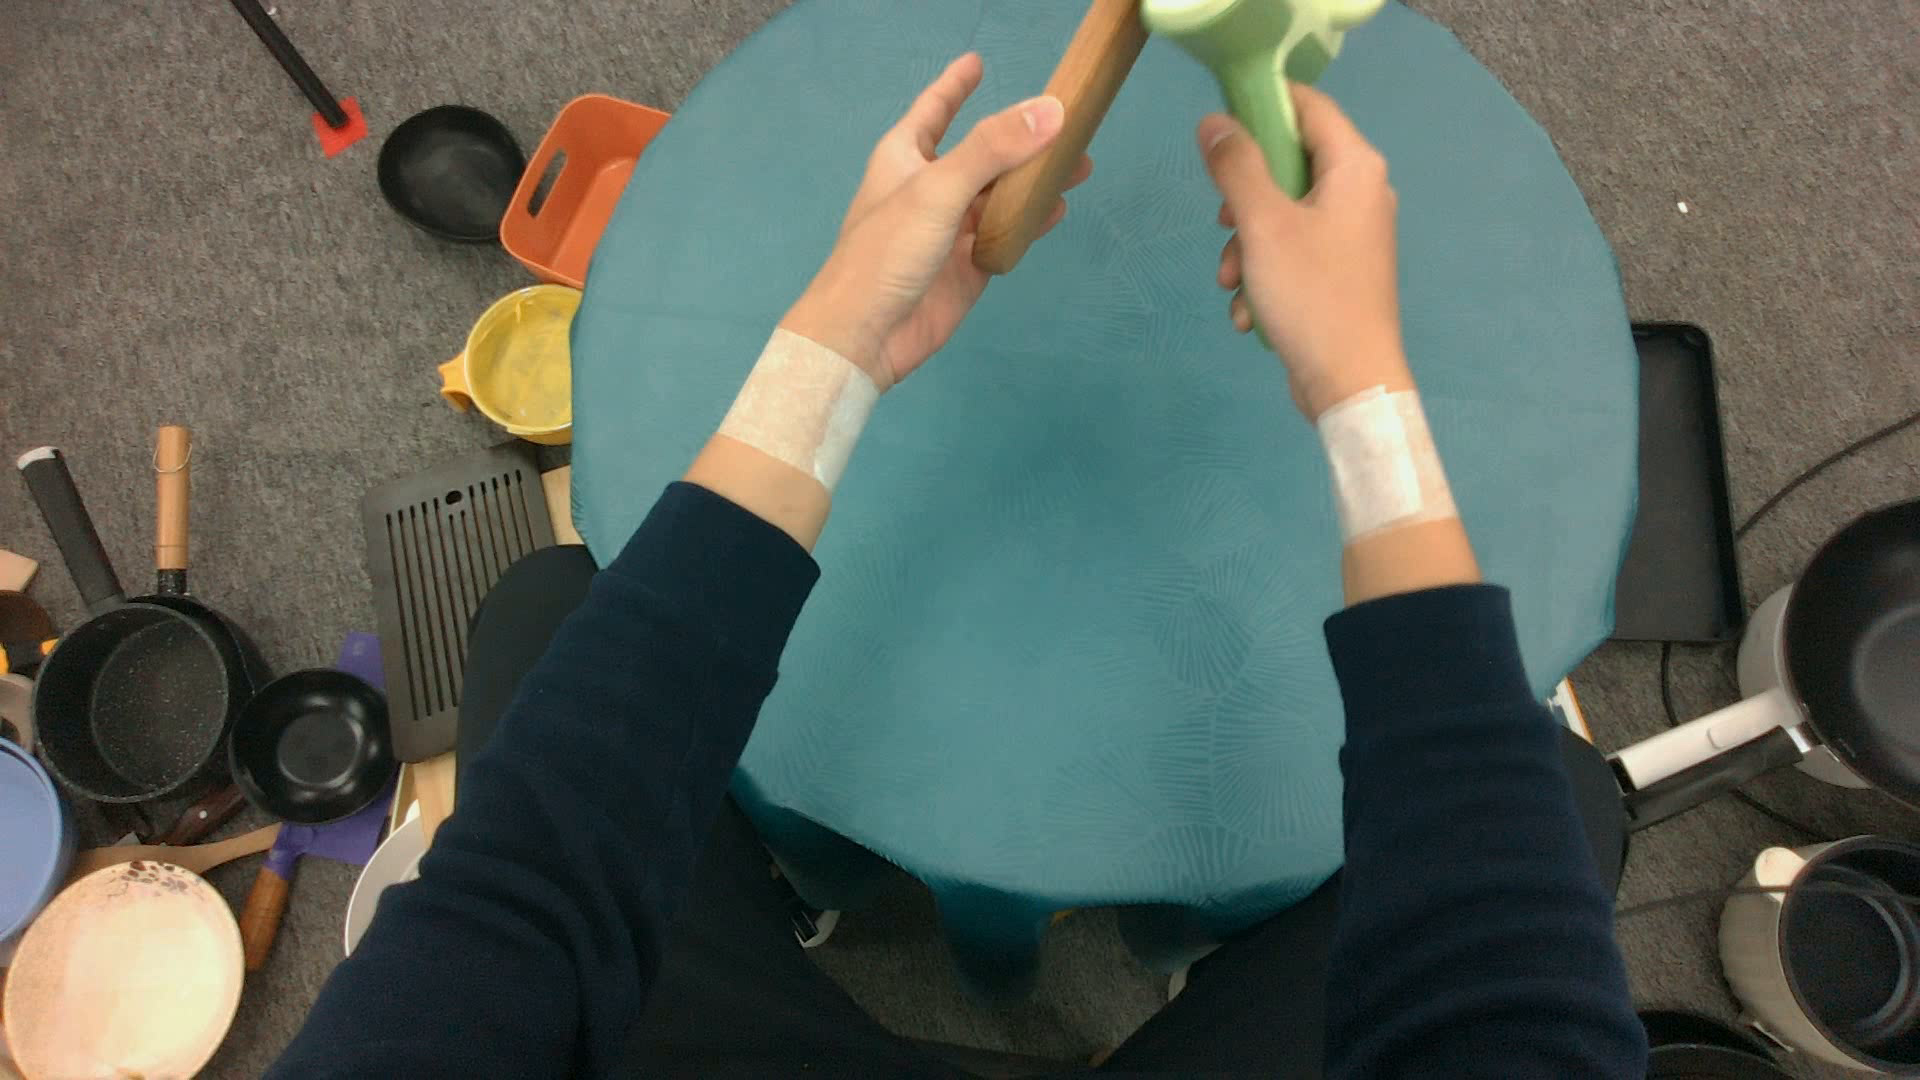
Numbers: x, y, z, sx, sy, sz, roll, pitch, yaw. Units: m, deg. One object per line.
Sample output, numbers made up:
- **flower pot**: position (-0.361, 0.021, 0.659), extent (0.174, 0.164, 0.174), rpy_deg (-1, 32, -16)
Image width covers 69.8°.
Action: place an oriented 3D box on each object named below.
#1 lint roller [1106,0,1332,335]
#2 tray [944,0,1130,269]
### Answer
- **lint roller**: position (0.133, -0.184, 0.581), extent (0.082, 0.199, 0.183), rpy_deg (-24, 91, 25)
- **tray**: position (0.053, -0.221, 0.593), extent (0.020, 0.102, 0.231), rpy_deg (27, 94, 5)
